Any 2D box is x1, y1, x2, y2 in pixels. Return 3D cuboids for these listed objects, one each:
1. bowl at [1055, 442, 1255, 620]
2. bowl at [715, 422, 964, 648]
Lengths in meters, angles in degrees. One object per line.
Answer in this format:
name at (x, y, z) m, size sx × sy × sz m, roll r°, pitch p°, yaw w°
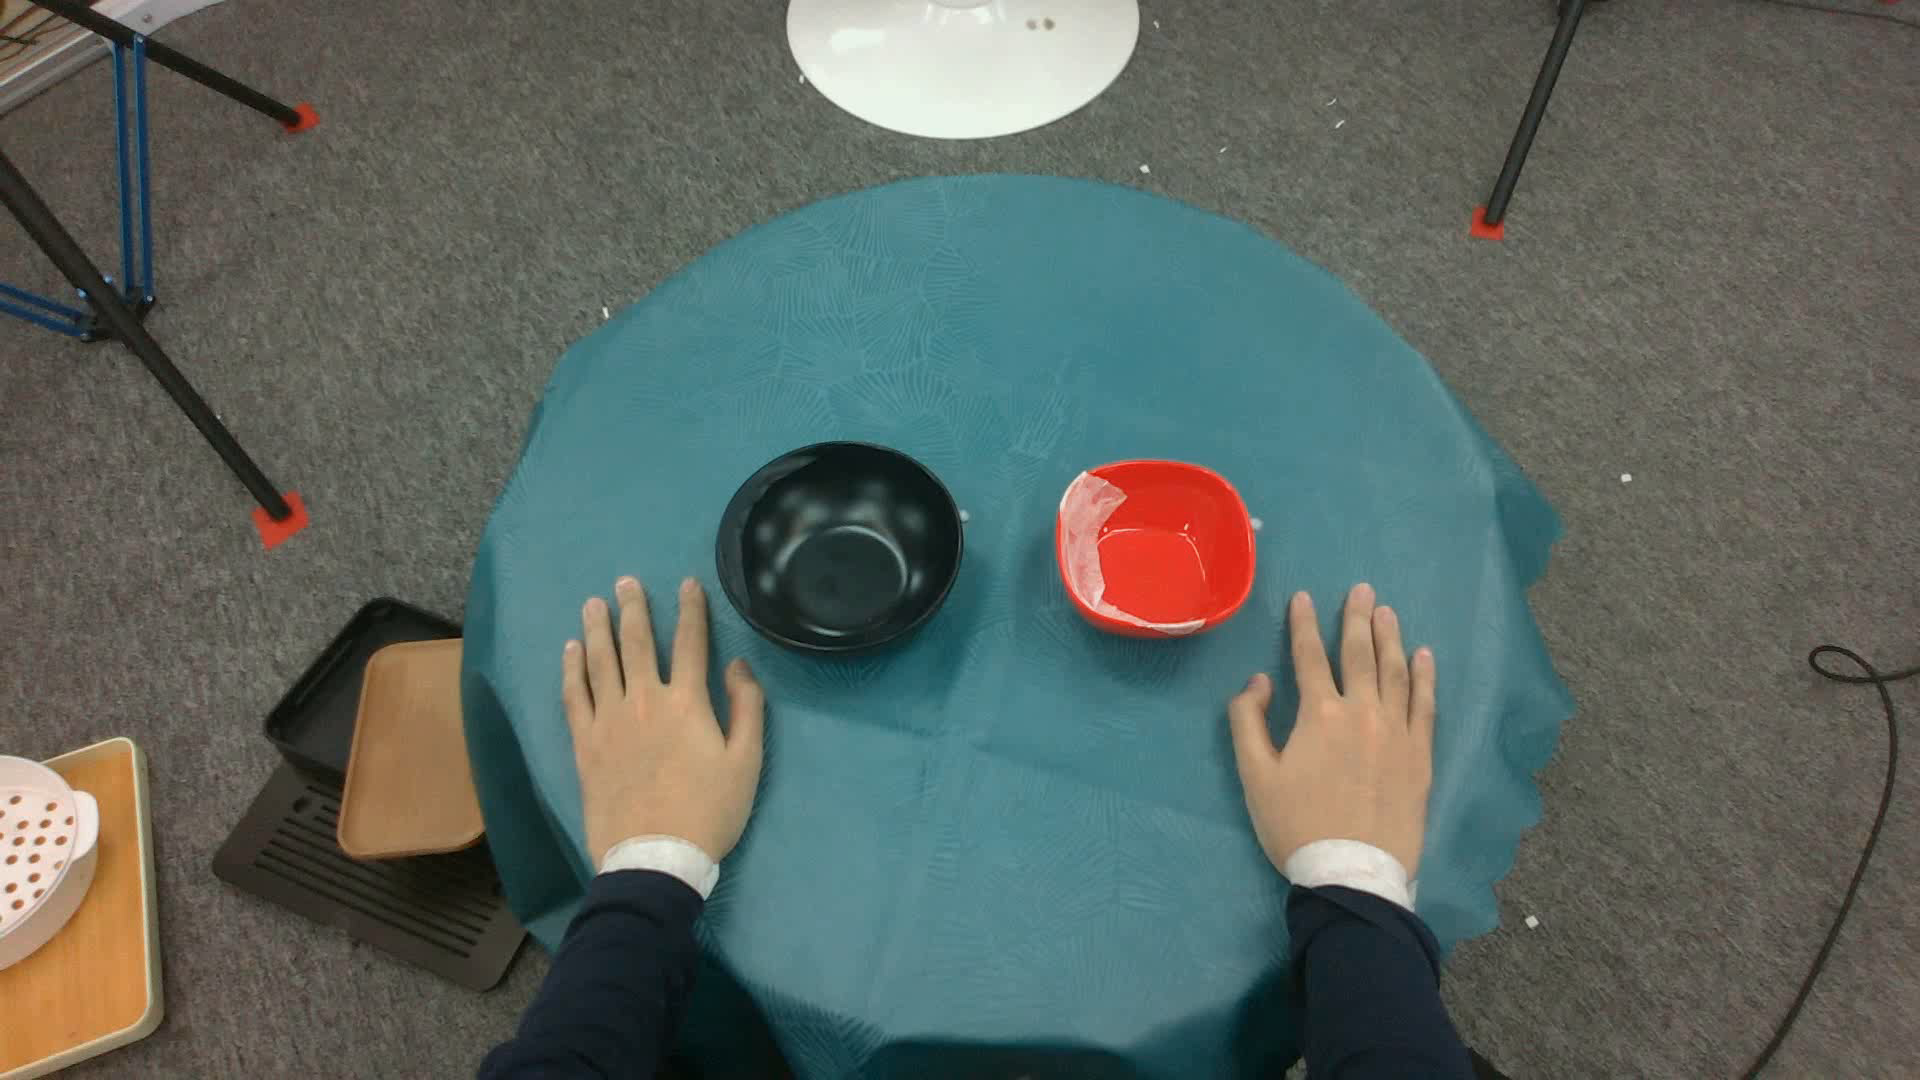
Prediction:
bowl at (0.107, 0.003, 0.778) m, size 0.119 × 0.051 × 0.119 m, roll 0°, pitch 57°, yaw 0°
bowl at (-0.067, 0.004, 0.784) m, size 0.140 × 0.049 × 0.140 m, roll 0°, pitch 62°, yaw 1°
